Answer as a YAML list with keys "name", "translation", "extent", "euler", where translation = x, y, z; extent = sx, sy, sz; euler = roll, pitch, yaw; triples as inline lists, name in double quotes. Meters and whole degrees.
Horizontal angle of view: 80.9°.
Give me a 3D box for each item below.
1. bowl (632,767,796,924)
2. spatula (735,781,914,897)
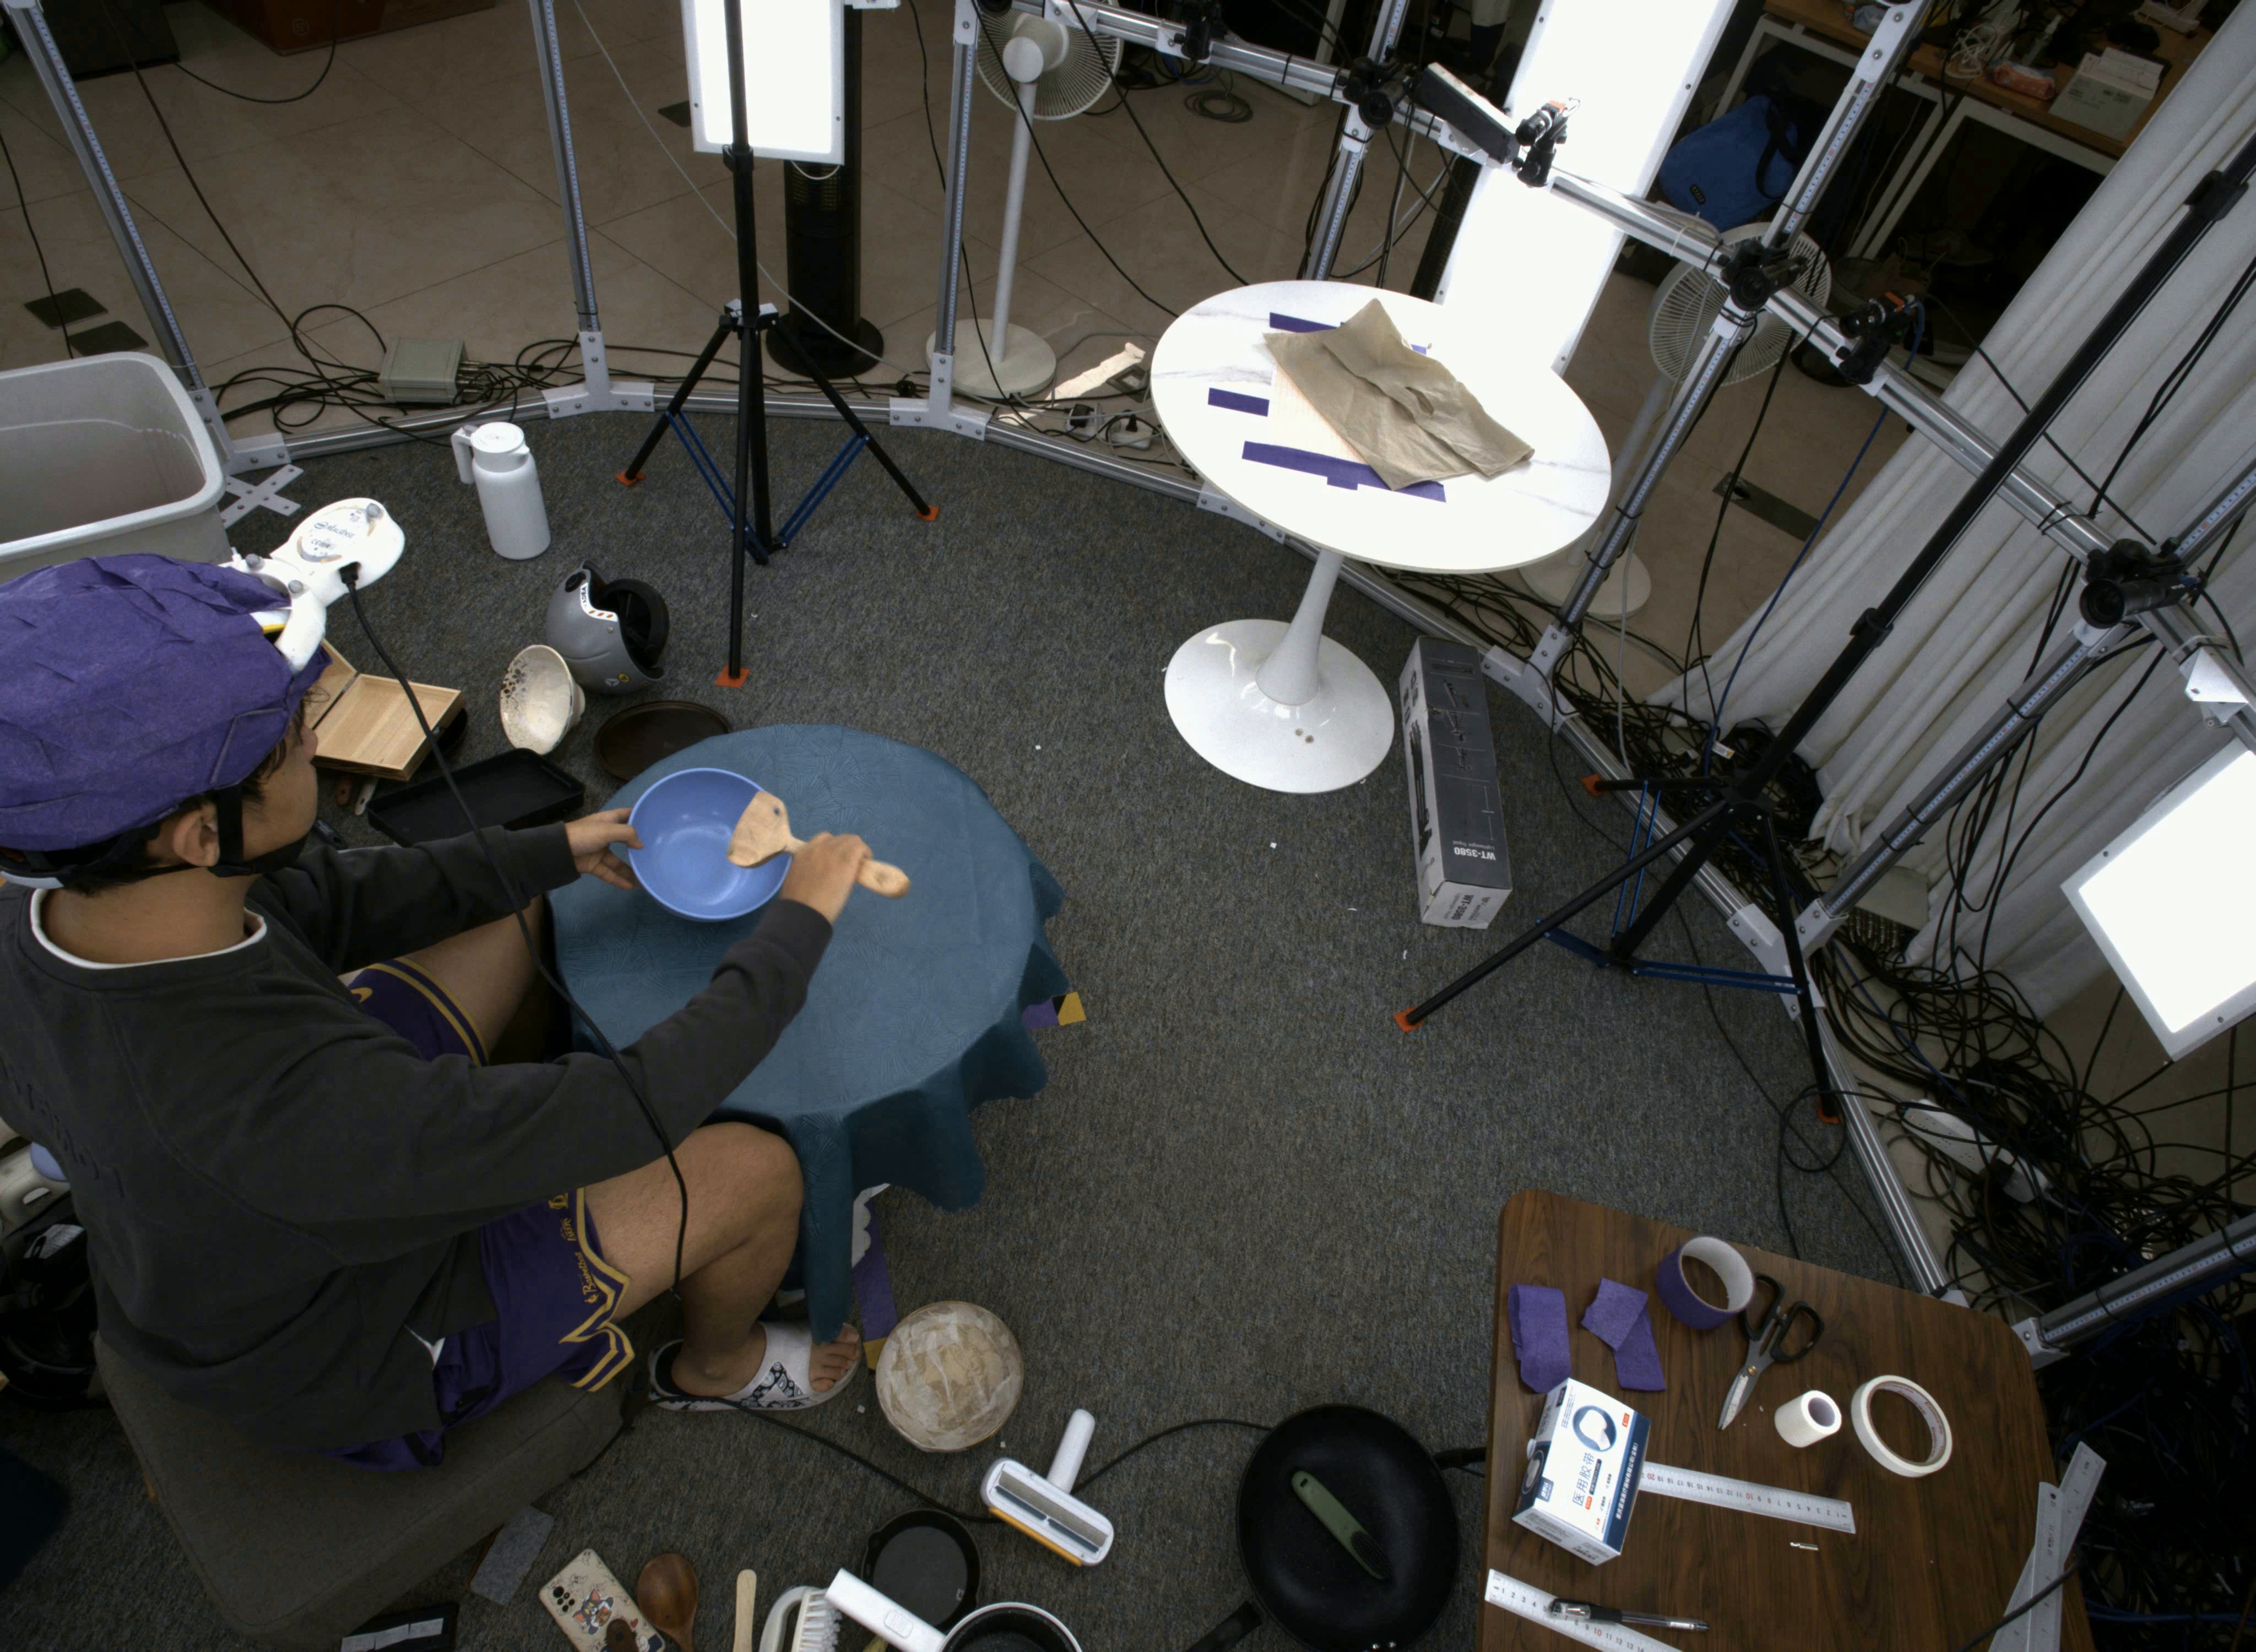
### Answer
- name: "bowl"
  translation: [-0.519, 0.036, 1.596]
  extent: [0.200, 0.095, 0.194]
  euler: [13, 64, -26]
- name: "spatula"
  translation: [-0.334, 0.020, 1.413]
  extent: [0.019, 0.376, 0.096]
  euler: [29, 81, -40]
